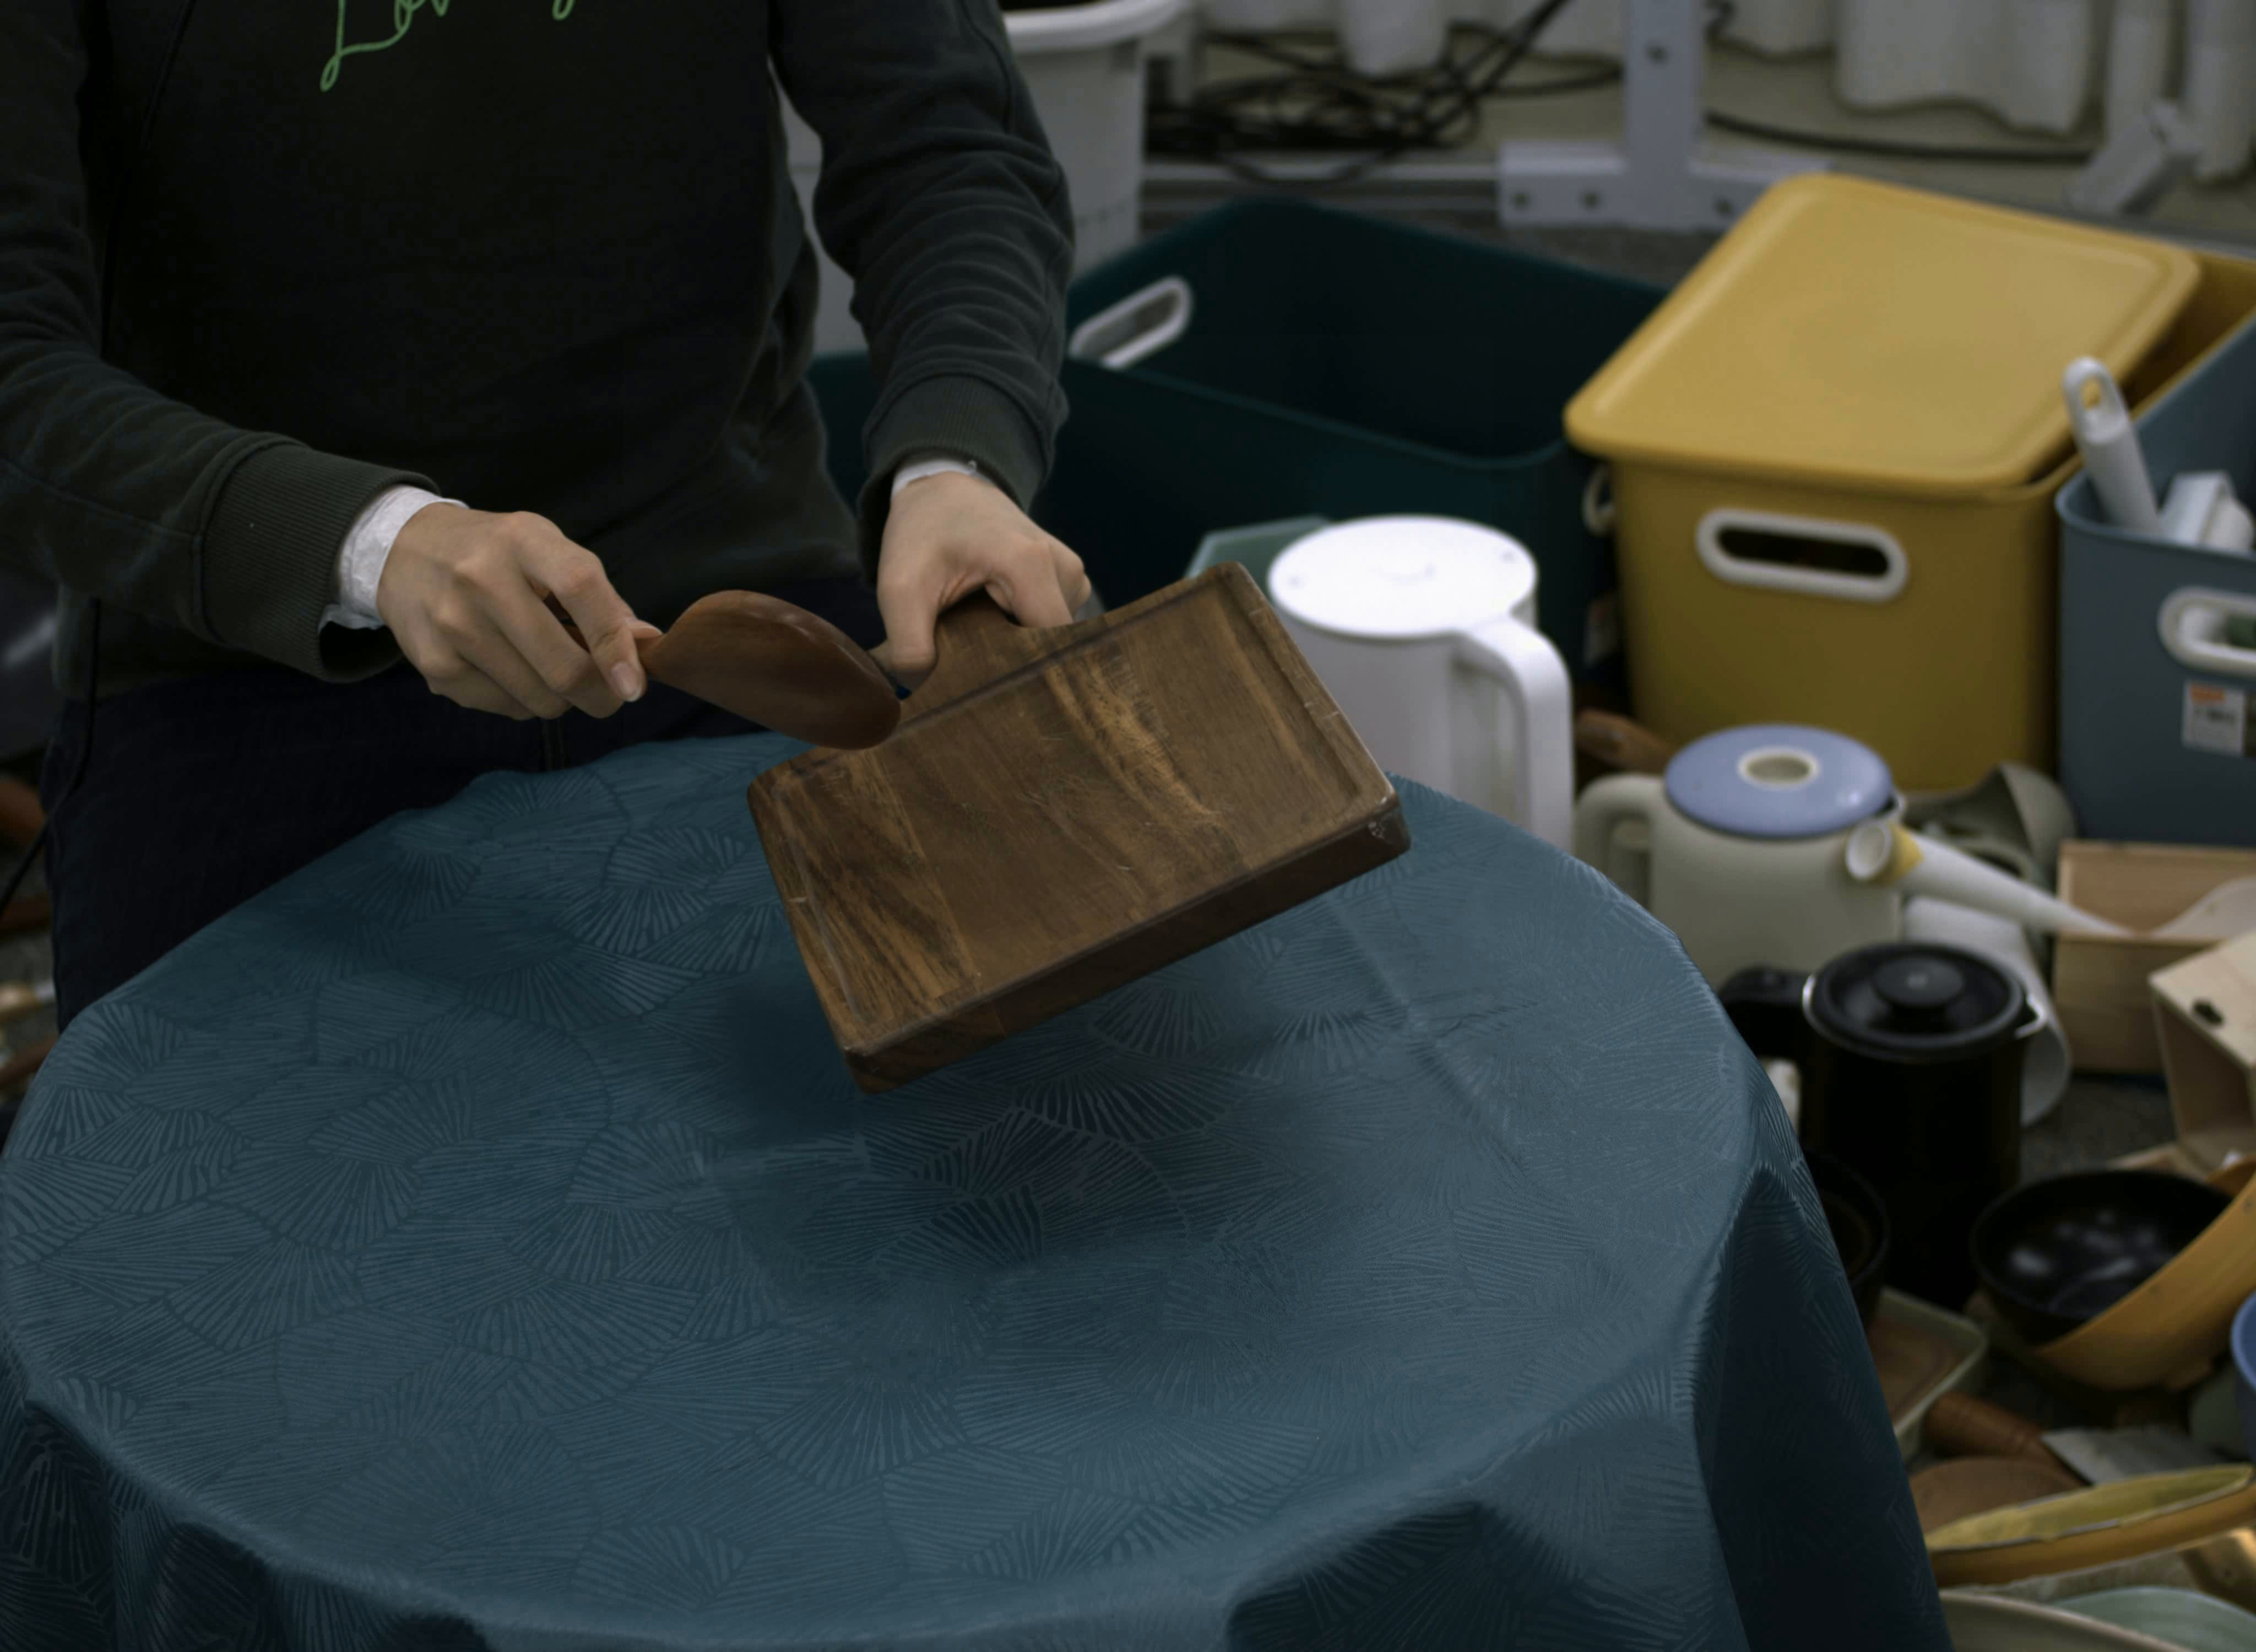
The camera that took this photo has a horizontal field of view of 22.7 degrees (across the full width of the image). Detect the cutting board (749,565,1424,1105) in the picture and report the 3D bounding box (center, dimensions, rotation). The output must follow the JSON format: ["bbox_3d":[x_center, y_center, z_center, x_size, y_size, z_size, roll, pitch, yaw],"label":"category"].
[{"bbox_3d":[-0.029,-0.020,1.930,0.201,0.023,0.355,-25,23,-2],"label":"cutting board"}]

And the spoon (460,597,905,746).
[{"bbox_3d":[-0.157,-0.054,1.907,0.214,0.075,0.017,7,58,46],"label":"spoon"}]
